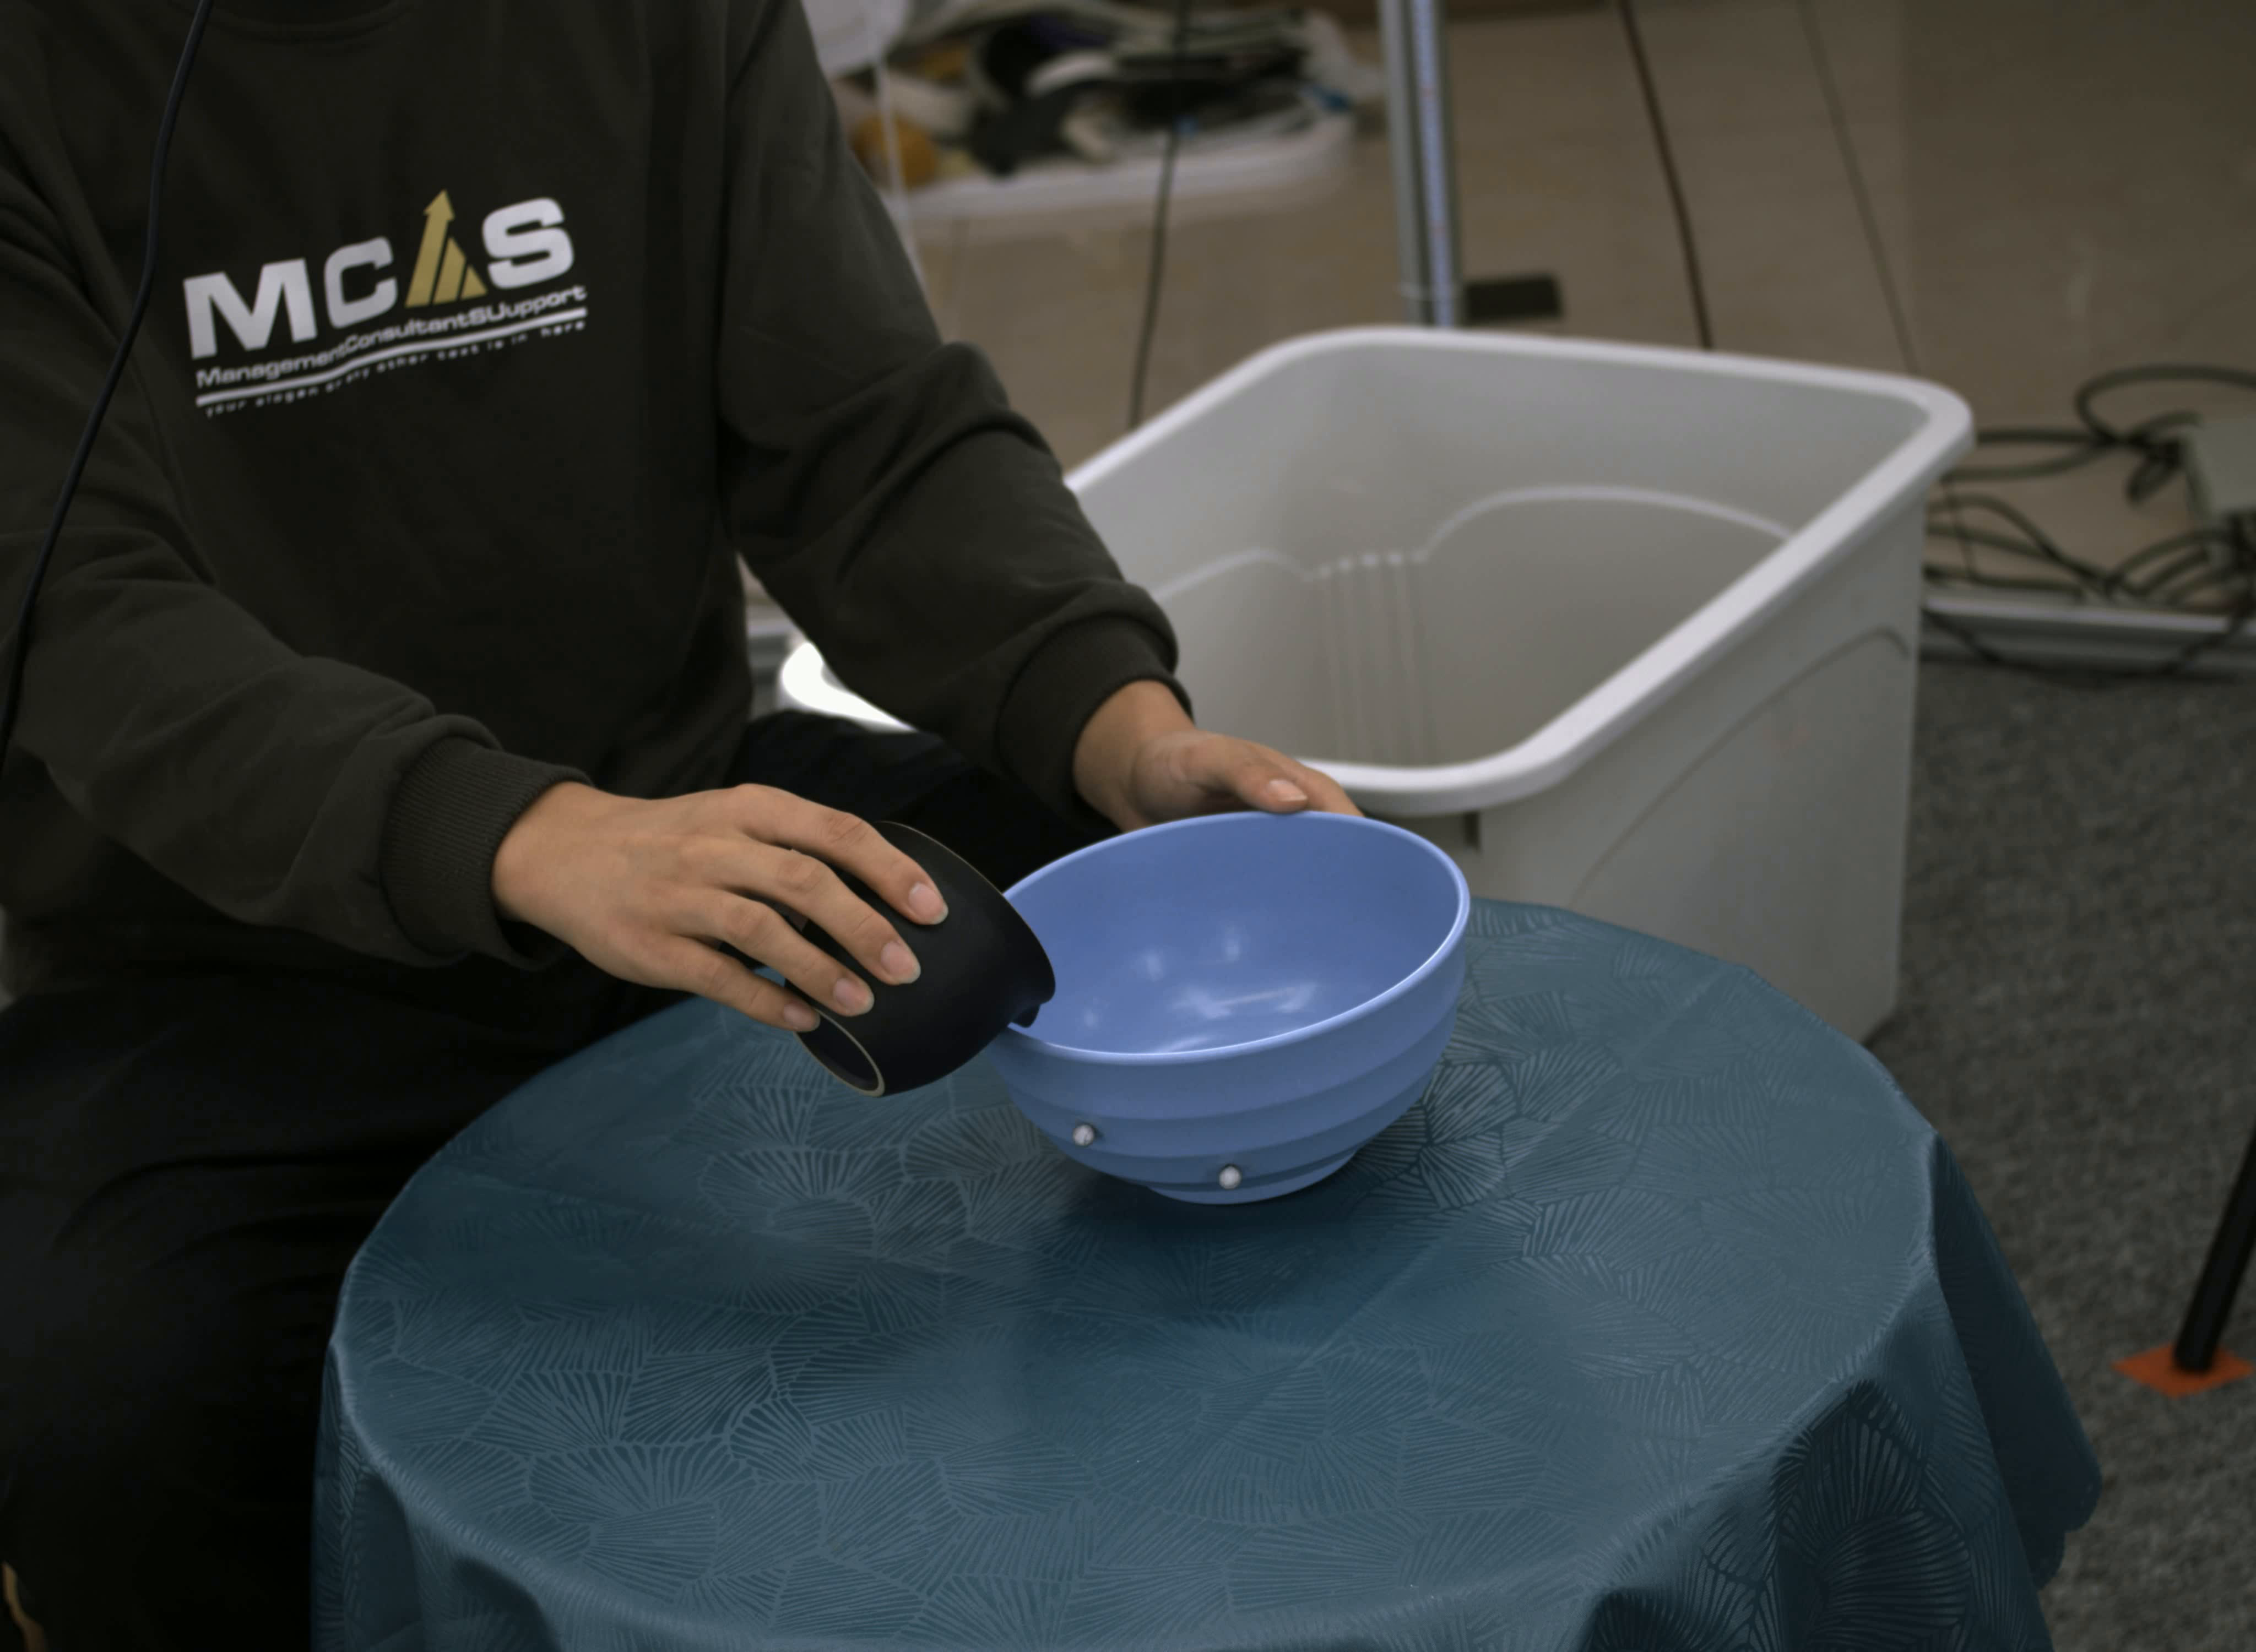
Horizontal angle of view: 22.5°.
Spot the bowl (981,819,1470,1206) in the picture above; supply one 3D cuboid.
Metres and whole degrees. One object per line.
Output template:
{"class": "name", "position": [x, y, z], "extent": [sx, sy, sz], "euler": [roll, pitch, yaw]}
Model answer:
{"class": "bowl", "position": [0.039, 0.081, 2.147], "extent": [0.196, 0.097, 0.193], "euler": [-9, 25, 4]}

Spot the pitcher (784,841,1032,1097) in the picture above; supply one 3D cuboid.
{"class": "pitcher", "position": [-0.081, 0.059, 2.058], "extent": [0.083, 0.097, 0.070], "euler": [13, 55, 50]}
